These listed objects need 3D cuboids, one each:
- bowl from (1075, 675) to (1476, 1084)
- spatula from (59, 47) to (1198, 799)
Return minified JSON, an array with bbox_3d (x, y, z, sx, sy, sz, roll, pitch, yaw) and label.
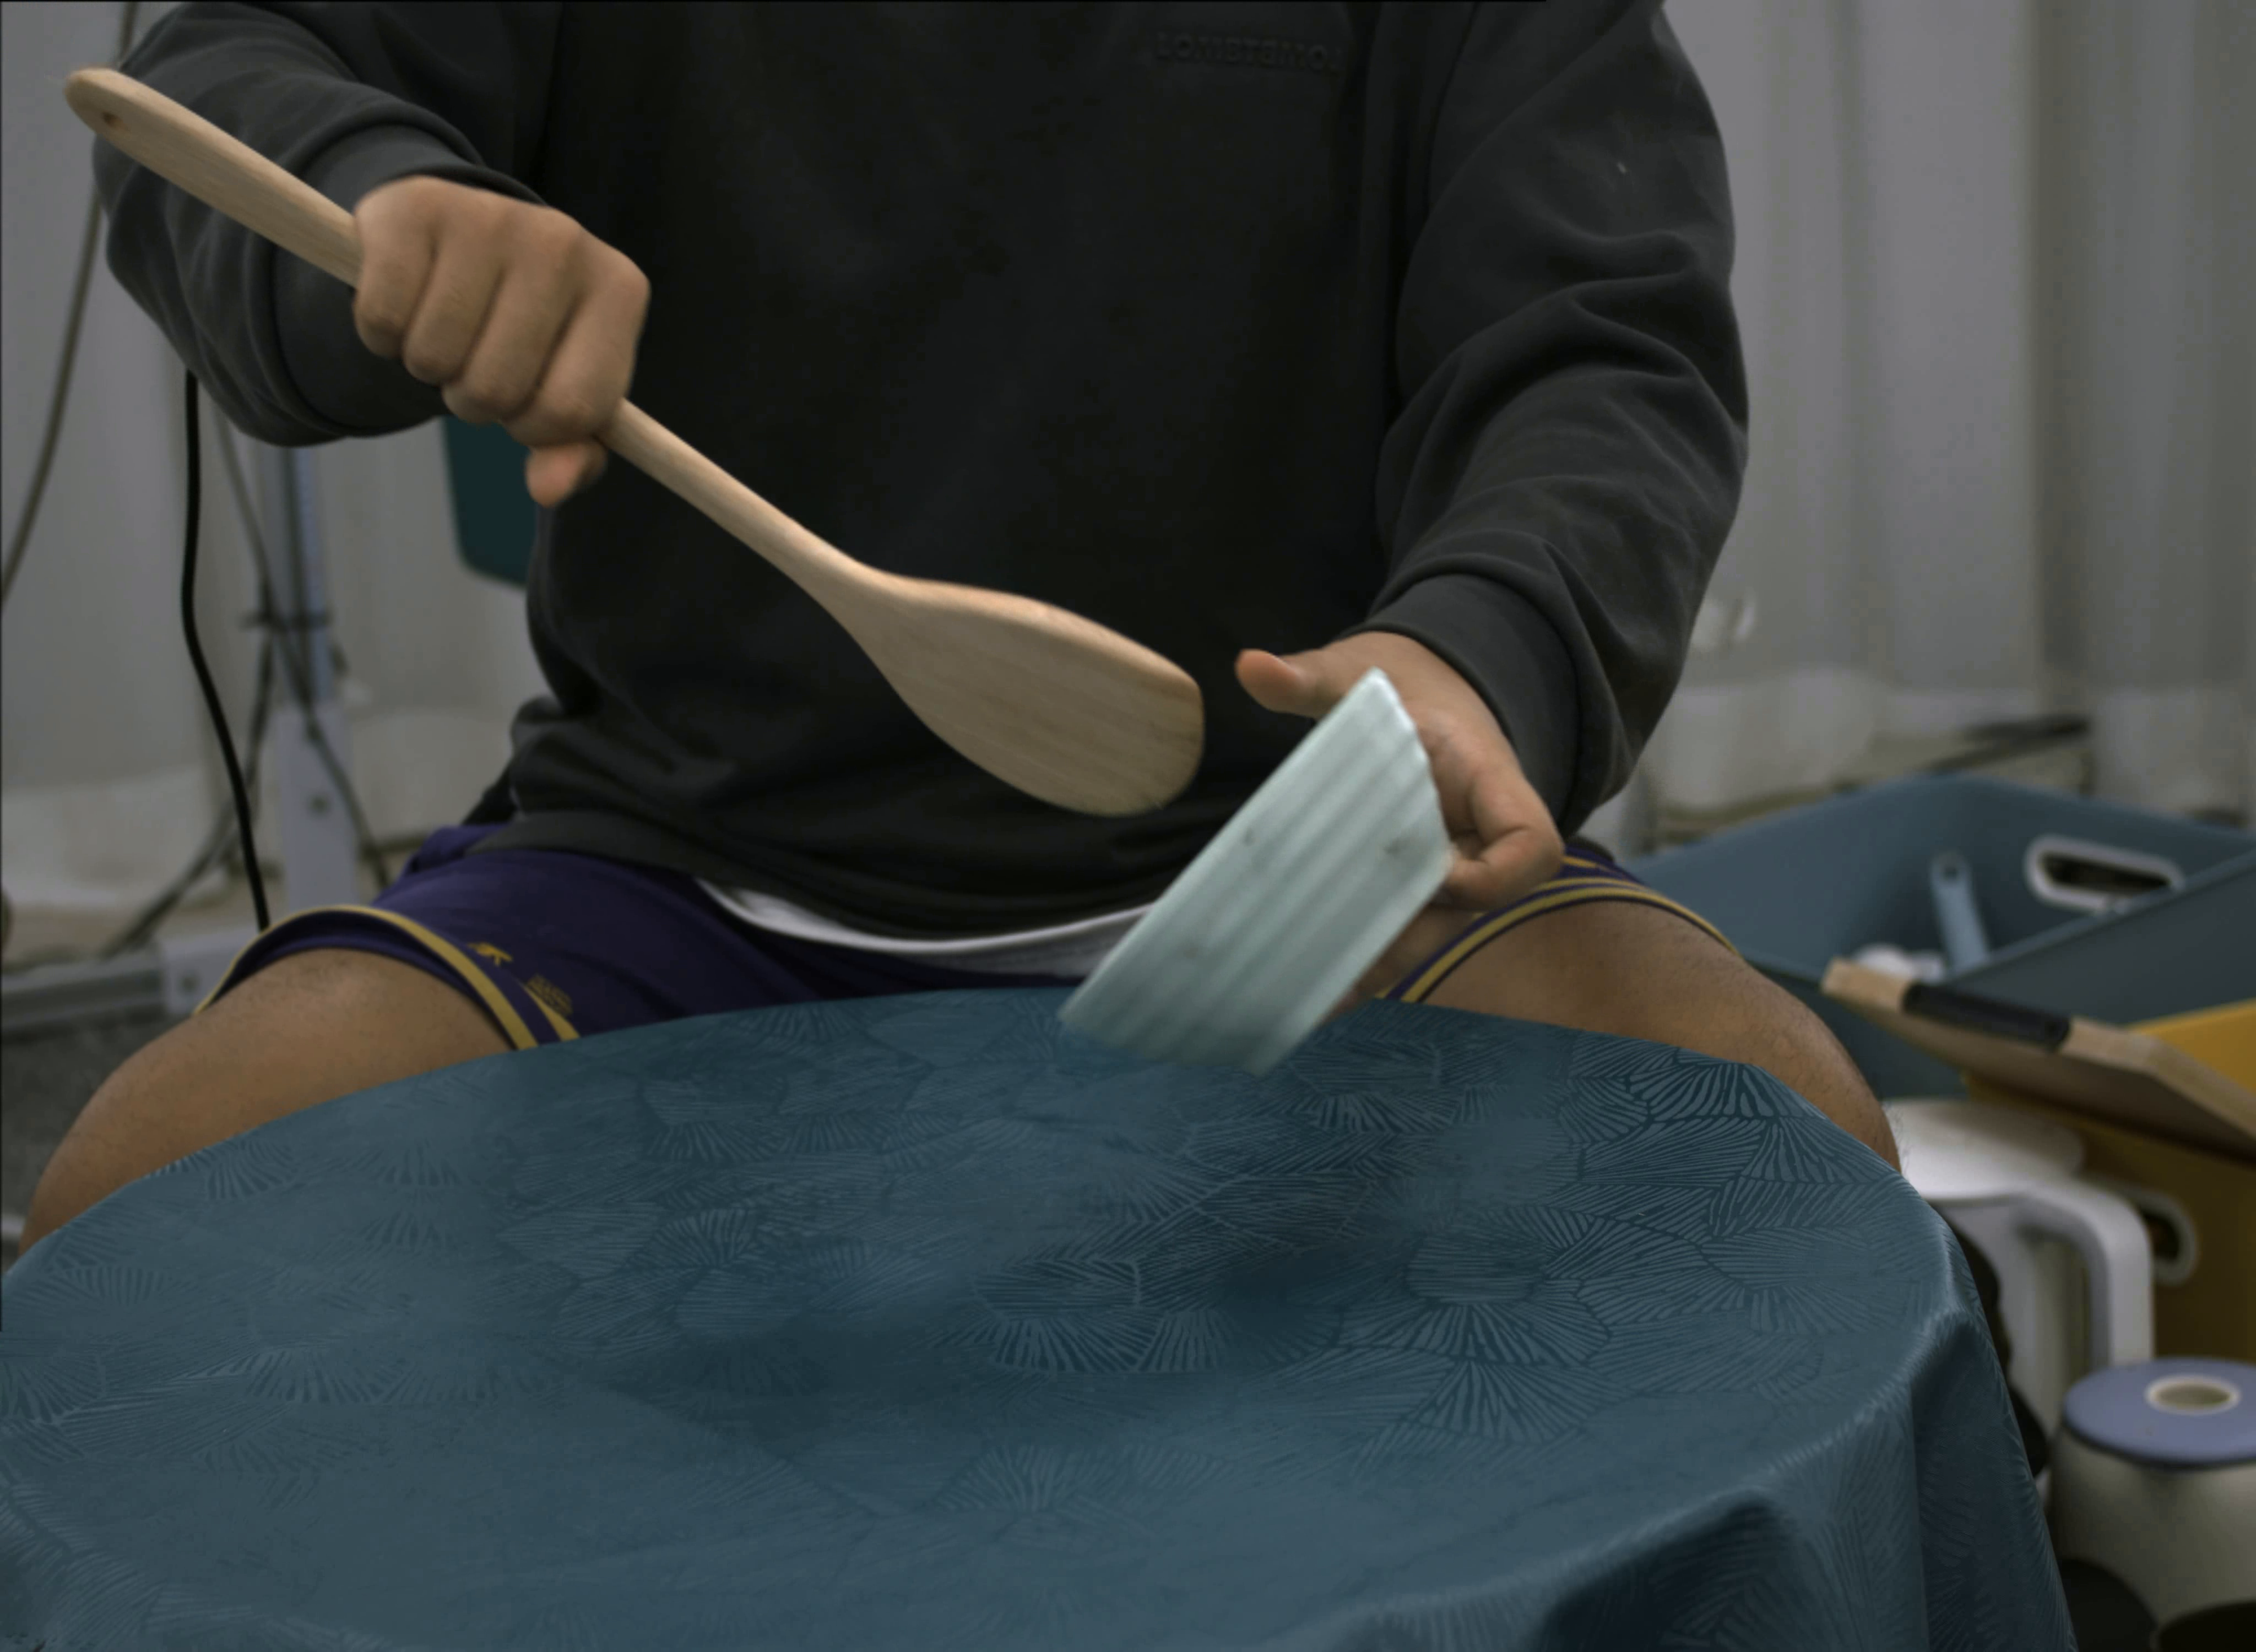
[{"bbox_3d":[0.052,0.026,1.624,0.058,0.151,0.152,42,19,-2],"label":"bowl"},{"bbox_3d":[-0.149,-0.124,1.613,0.391,0.095,0.018,34,56,3],"label":"spatula"}]
